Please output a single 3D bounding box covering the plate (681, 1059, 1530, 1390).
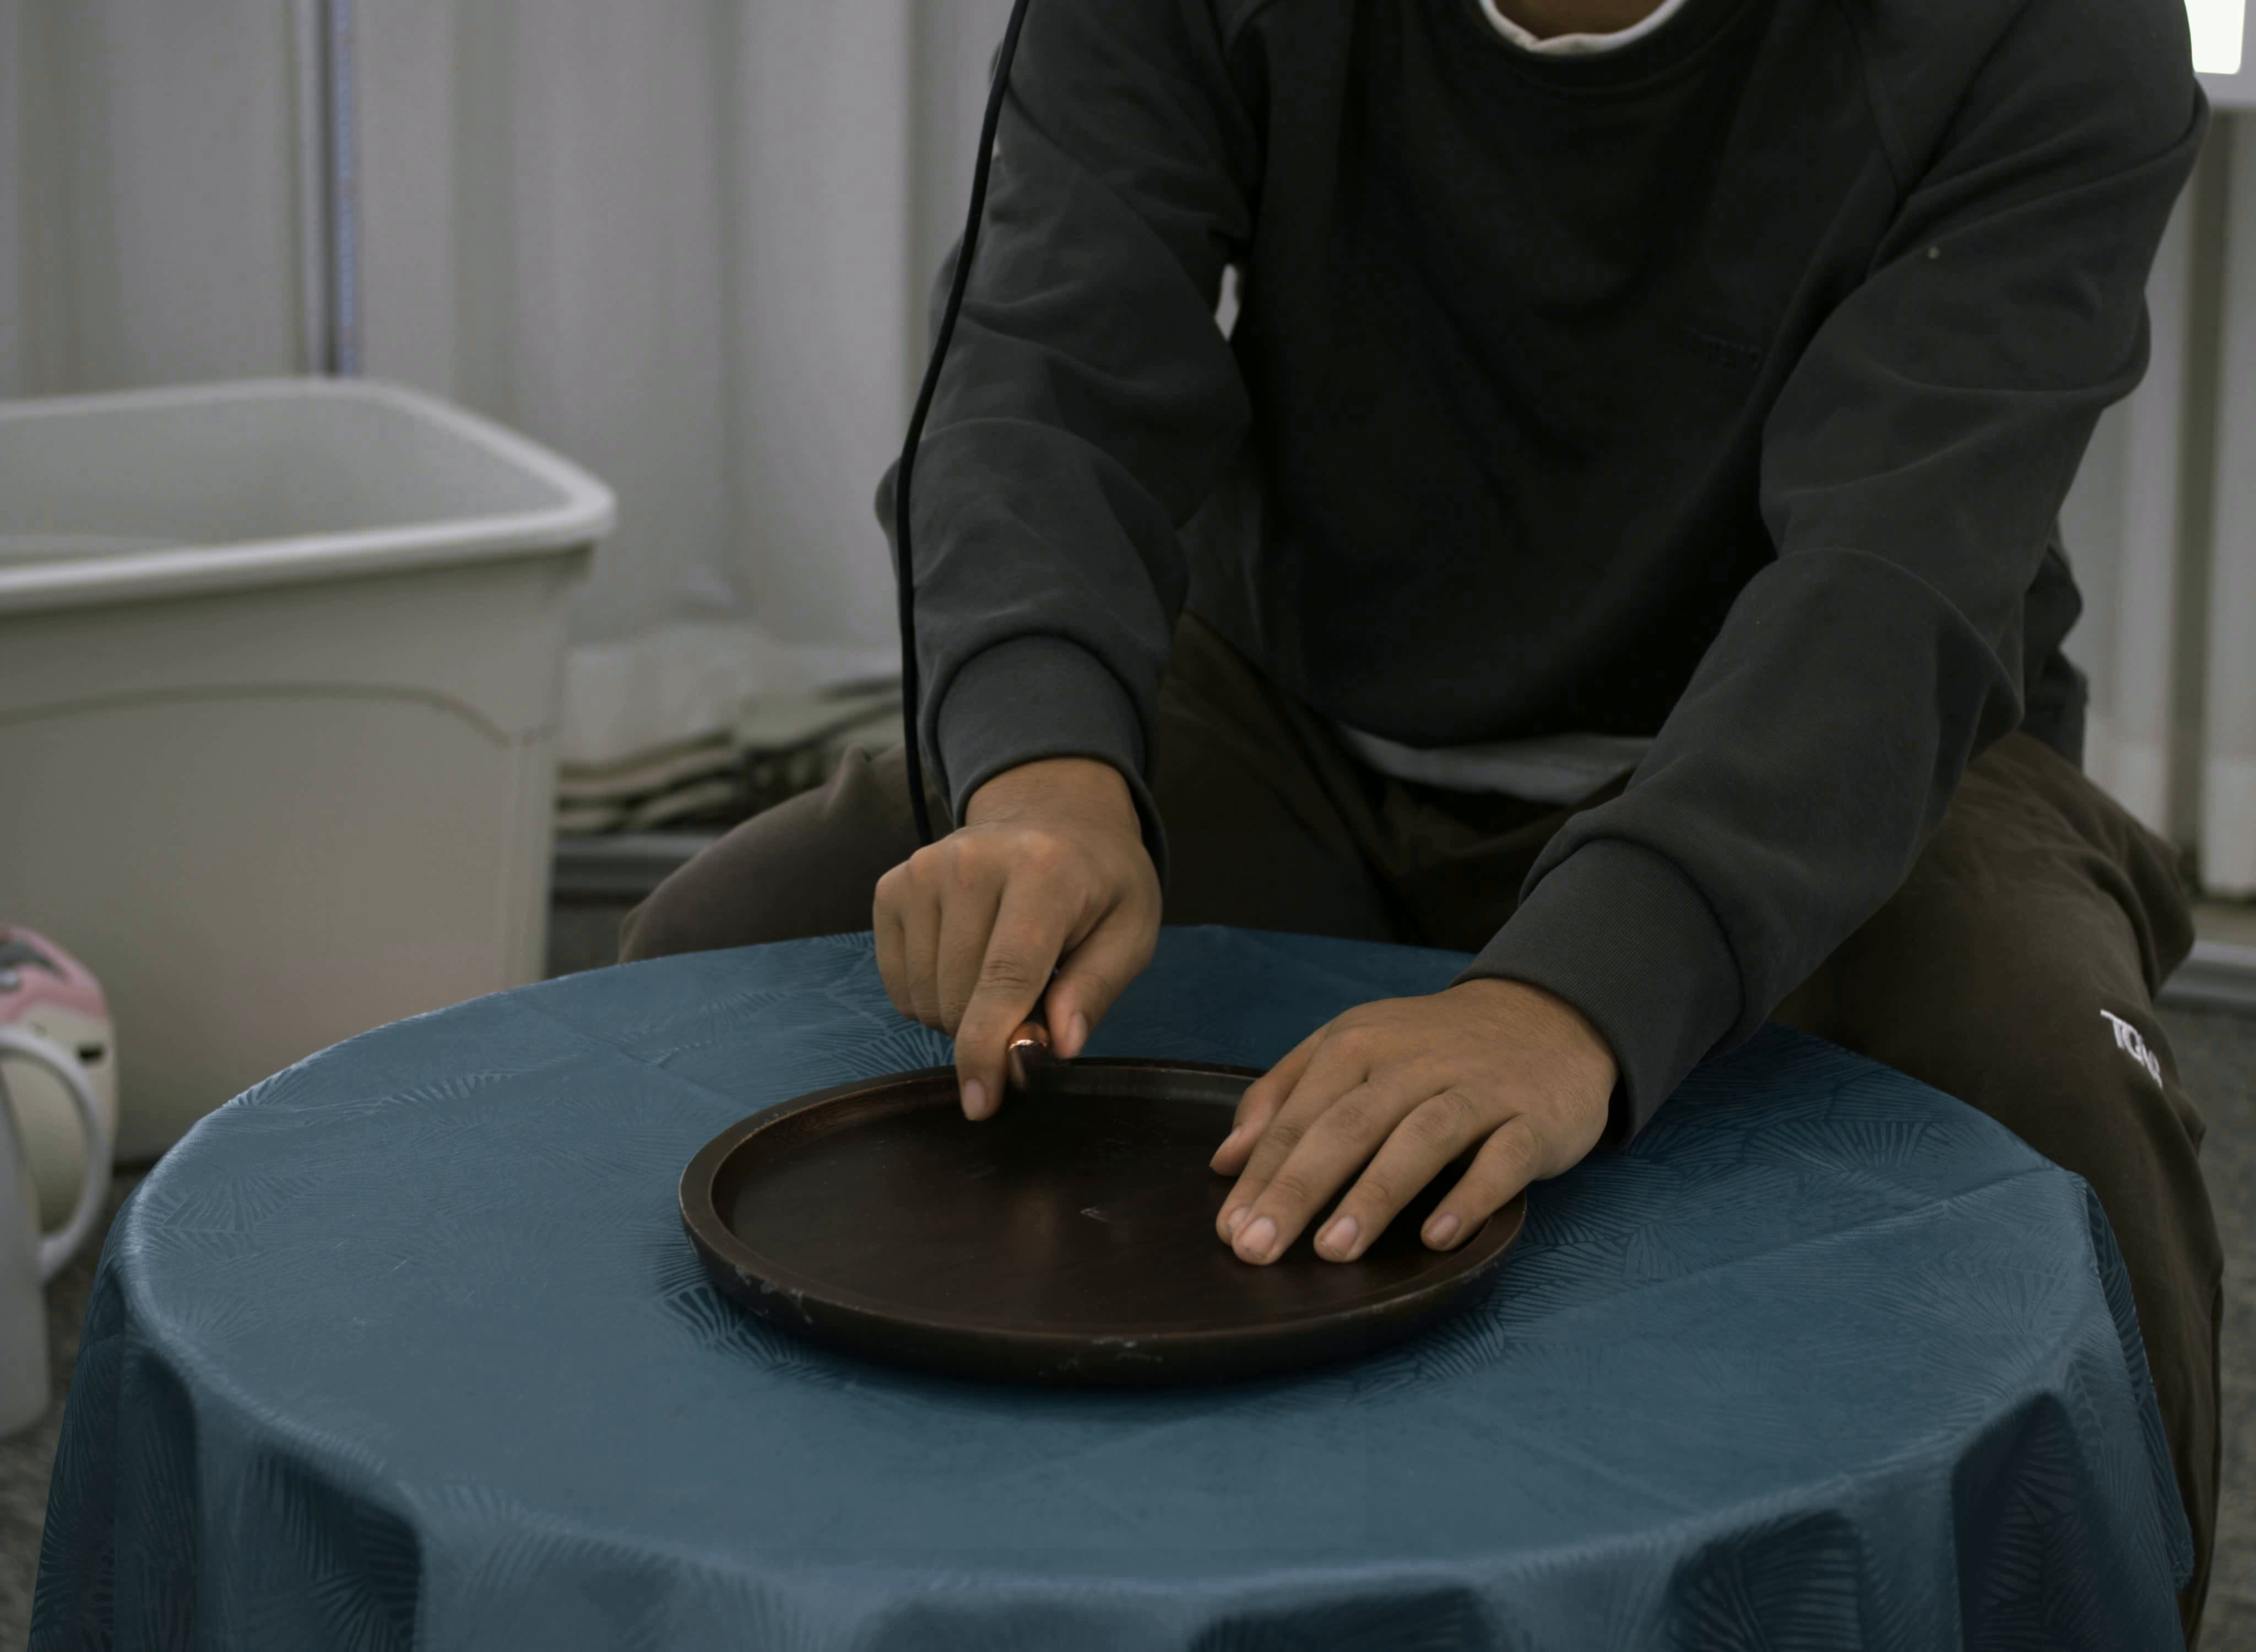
[{"bbox_3d":[-0.007,0.116,1.569,0.254,0.029,0.253,0,14,1],"label":"plate"}]

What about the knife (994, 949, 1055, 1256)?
[{"bbox_3d":[-0.030,0.081,1.607,0.017,0.026,0.224,-13,18,1],"label":"knife"}]
